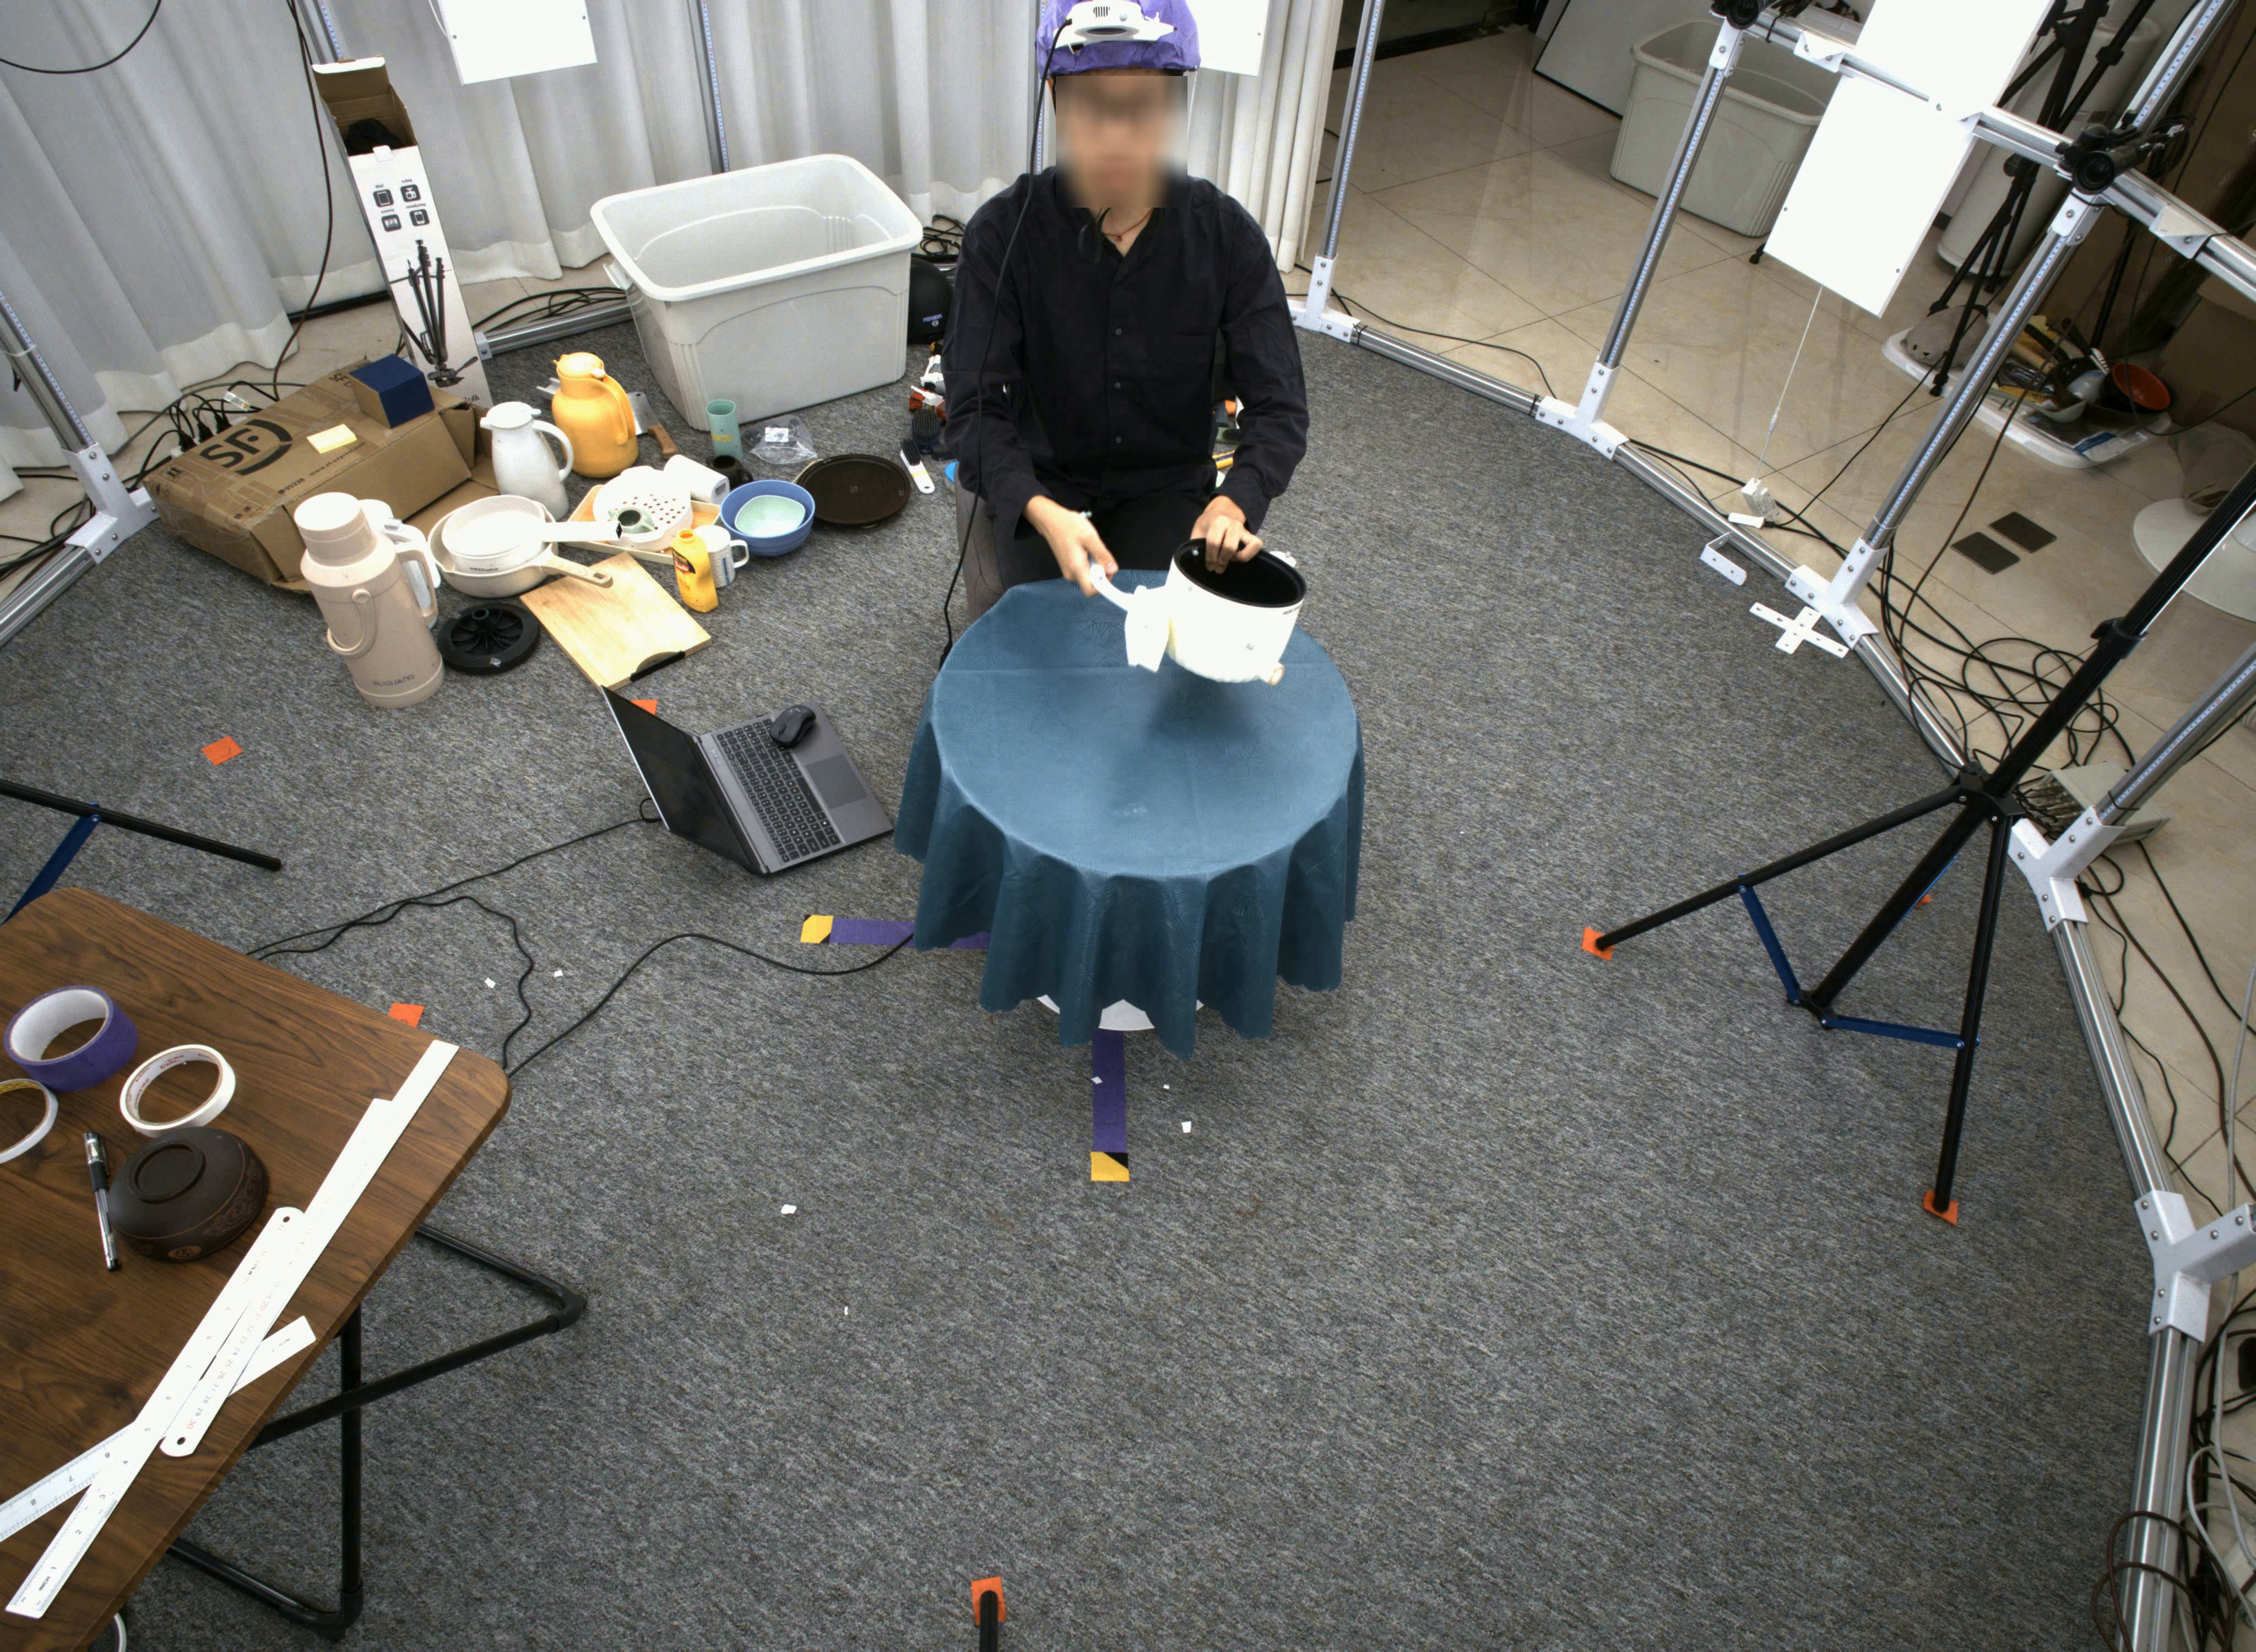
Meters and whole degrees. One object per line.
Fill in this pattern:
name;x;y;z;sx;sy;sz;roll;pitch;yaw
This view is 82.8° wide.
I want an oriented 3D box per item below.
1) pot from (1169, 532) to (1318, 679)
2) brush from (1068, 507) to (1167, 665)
pot;0.153;-0.288;1.722;0.193;0.139;0.242;31;39;26
brush;0.002;-0.335;1.743;0.082;0.083;0.333;-37;46;19
